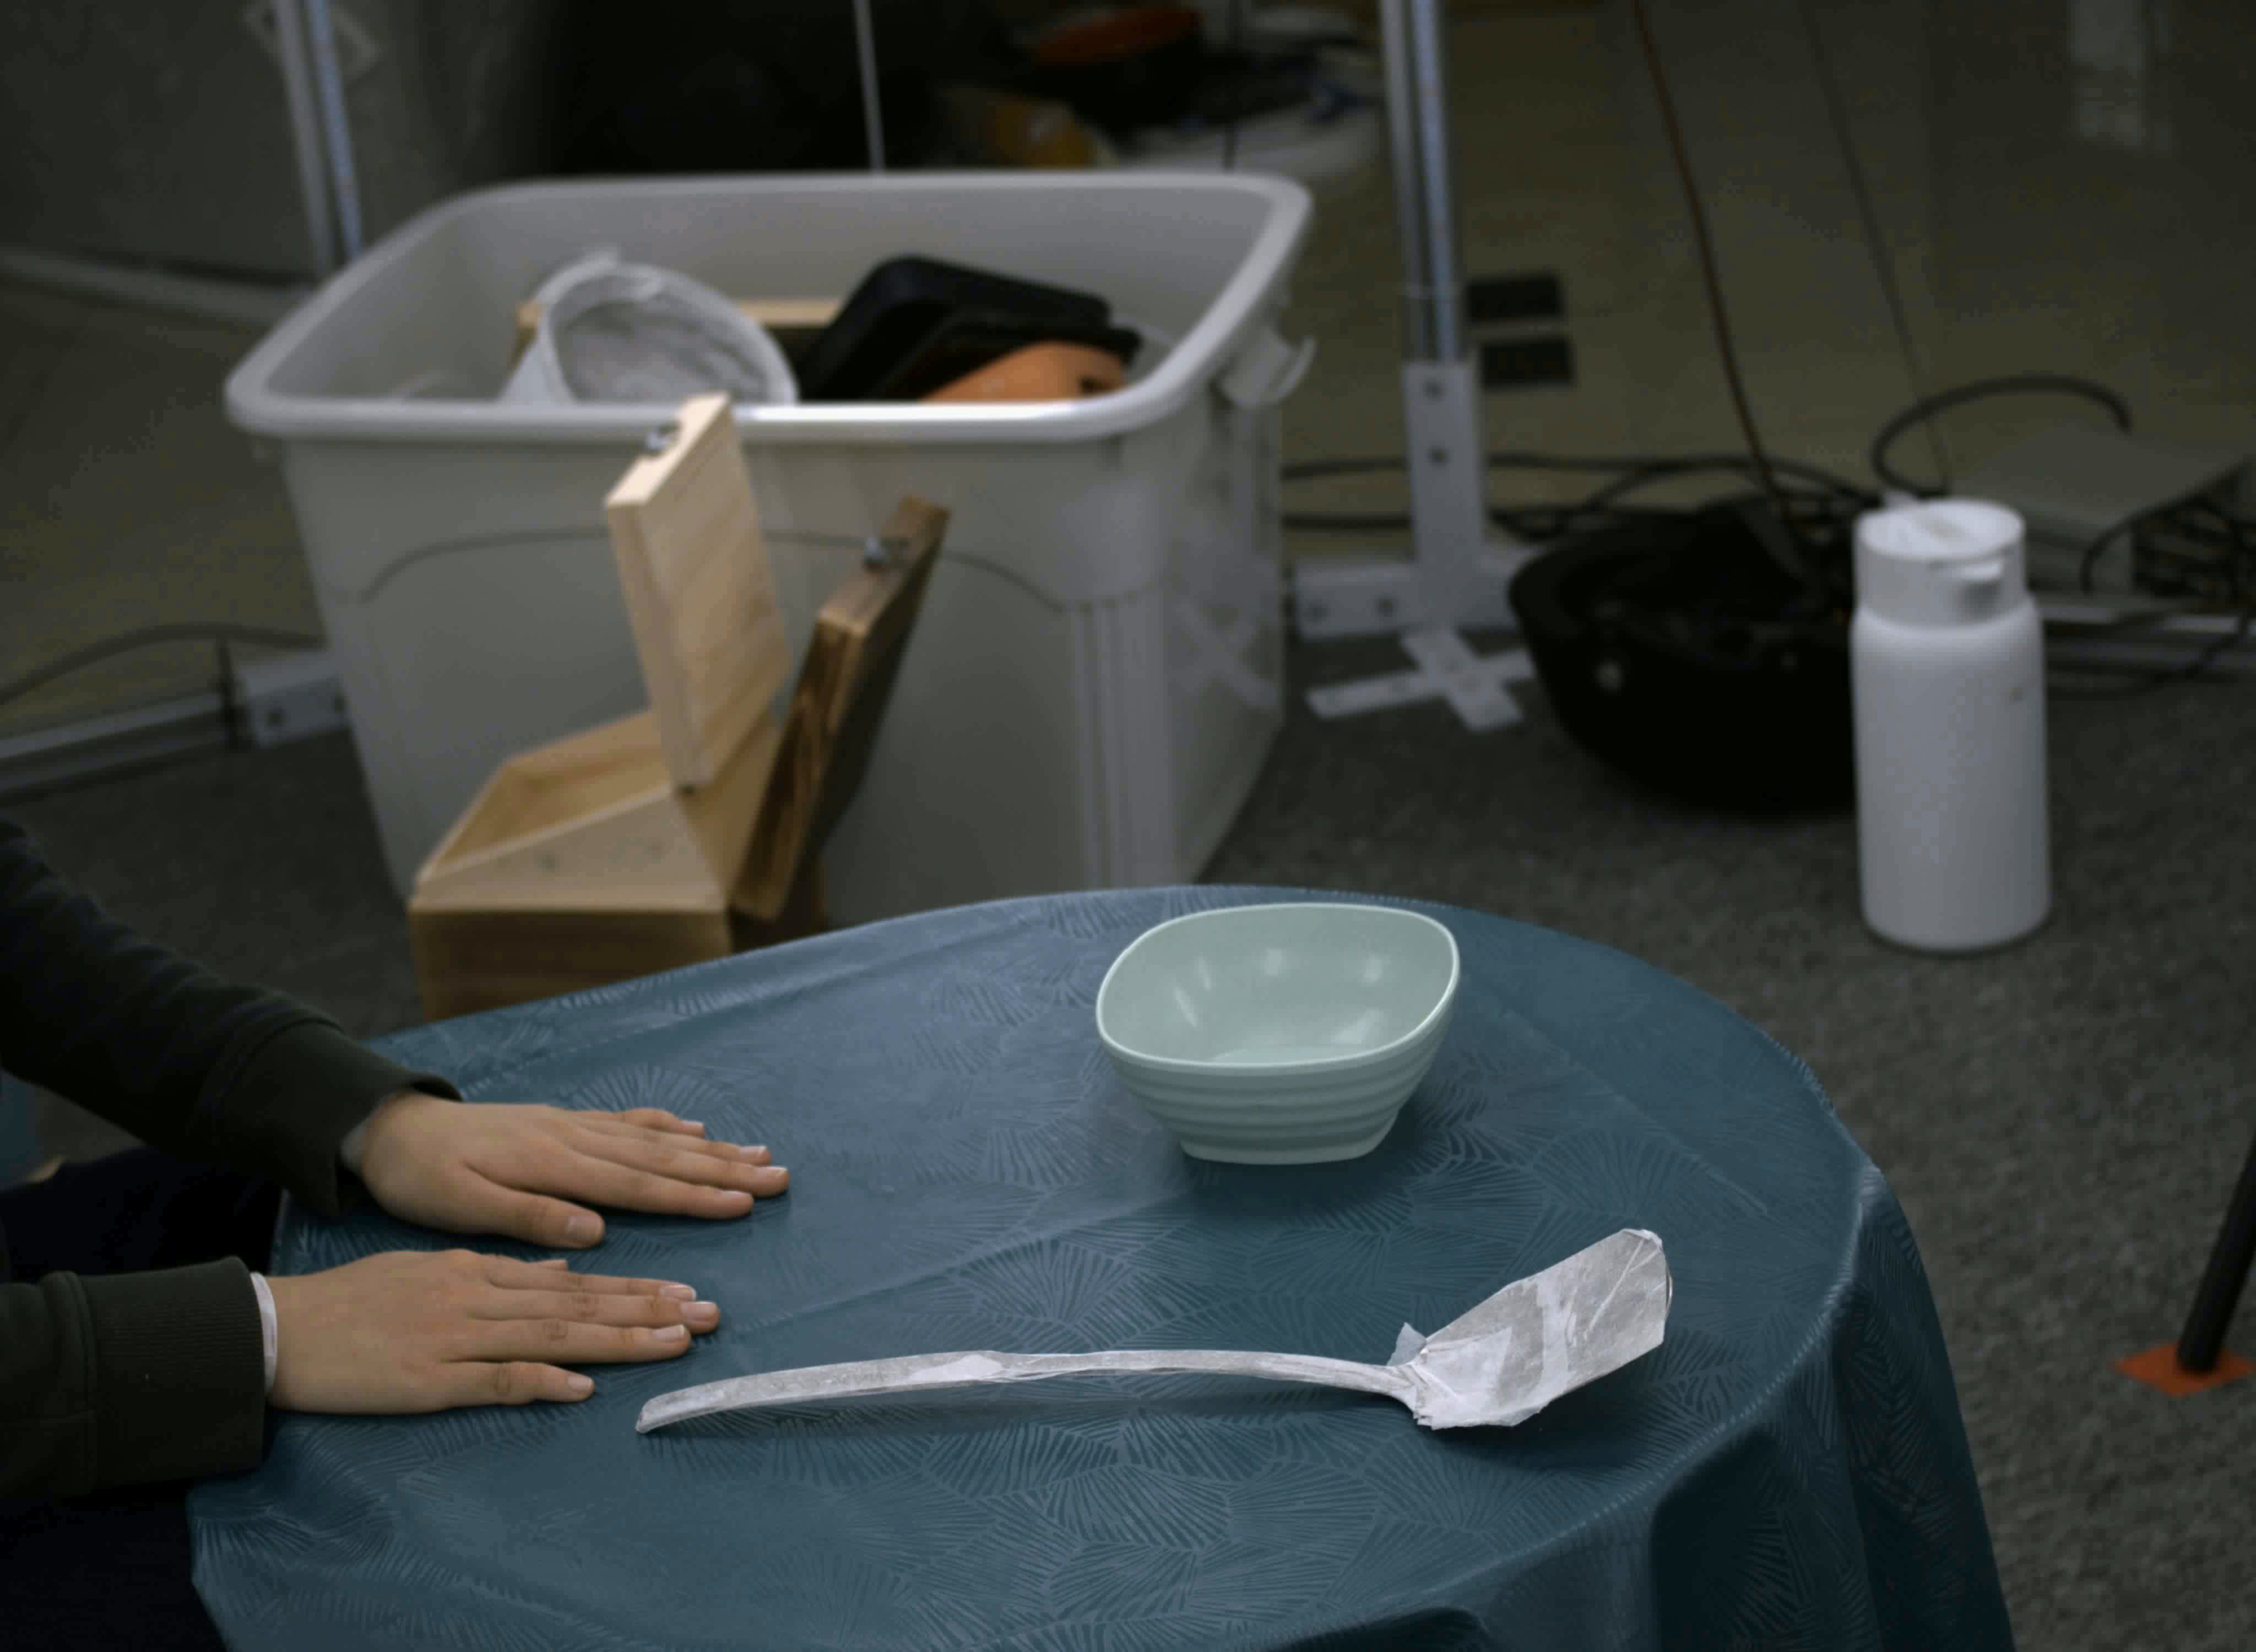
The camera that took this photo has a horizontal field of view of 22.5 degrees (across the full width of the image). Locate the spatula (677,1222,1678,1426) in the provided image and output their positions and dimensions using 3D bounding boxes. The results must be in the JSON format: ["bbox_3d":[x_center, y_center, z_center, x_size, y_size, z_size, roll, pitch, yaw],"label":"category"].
[{"bbox_3d":[0.013,0.185,2.005,0.364,0.045,0.097,-2,27,8],"label":"spatula"}]

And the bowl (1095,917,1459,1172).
[{"bbox_3d":[0.060,0.089,2.182,0.151,0.059,0.149,-5,24,2],"label":"bowl"}]
